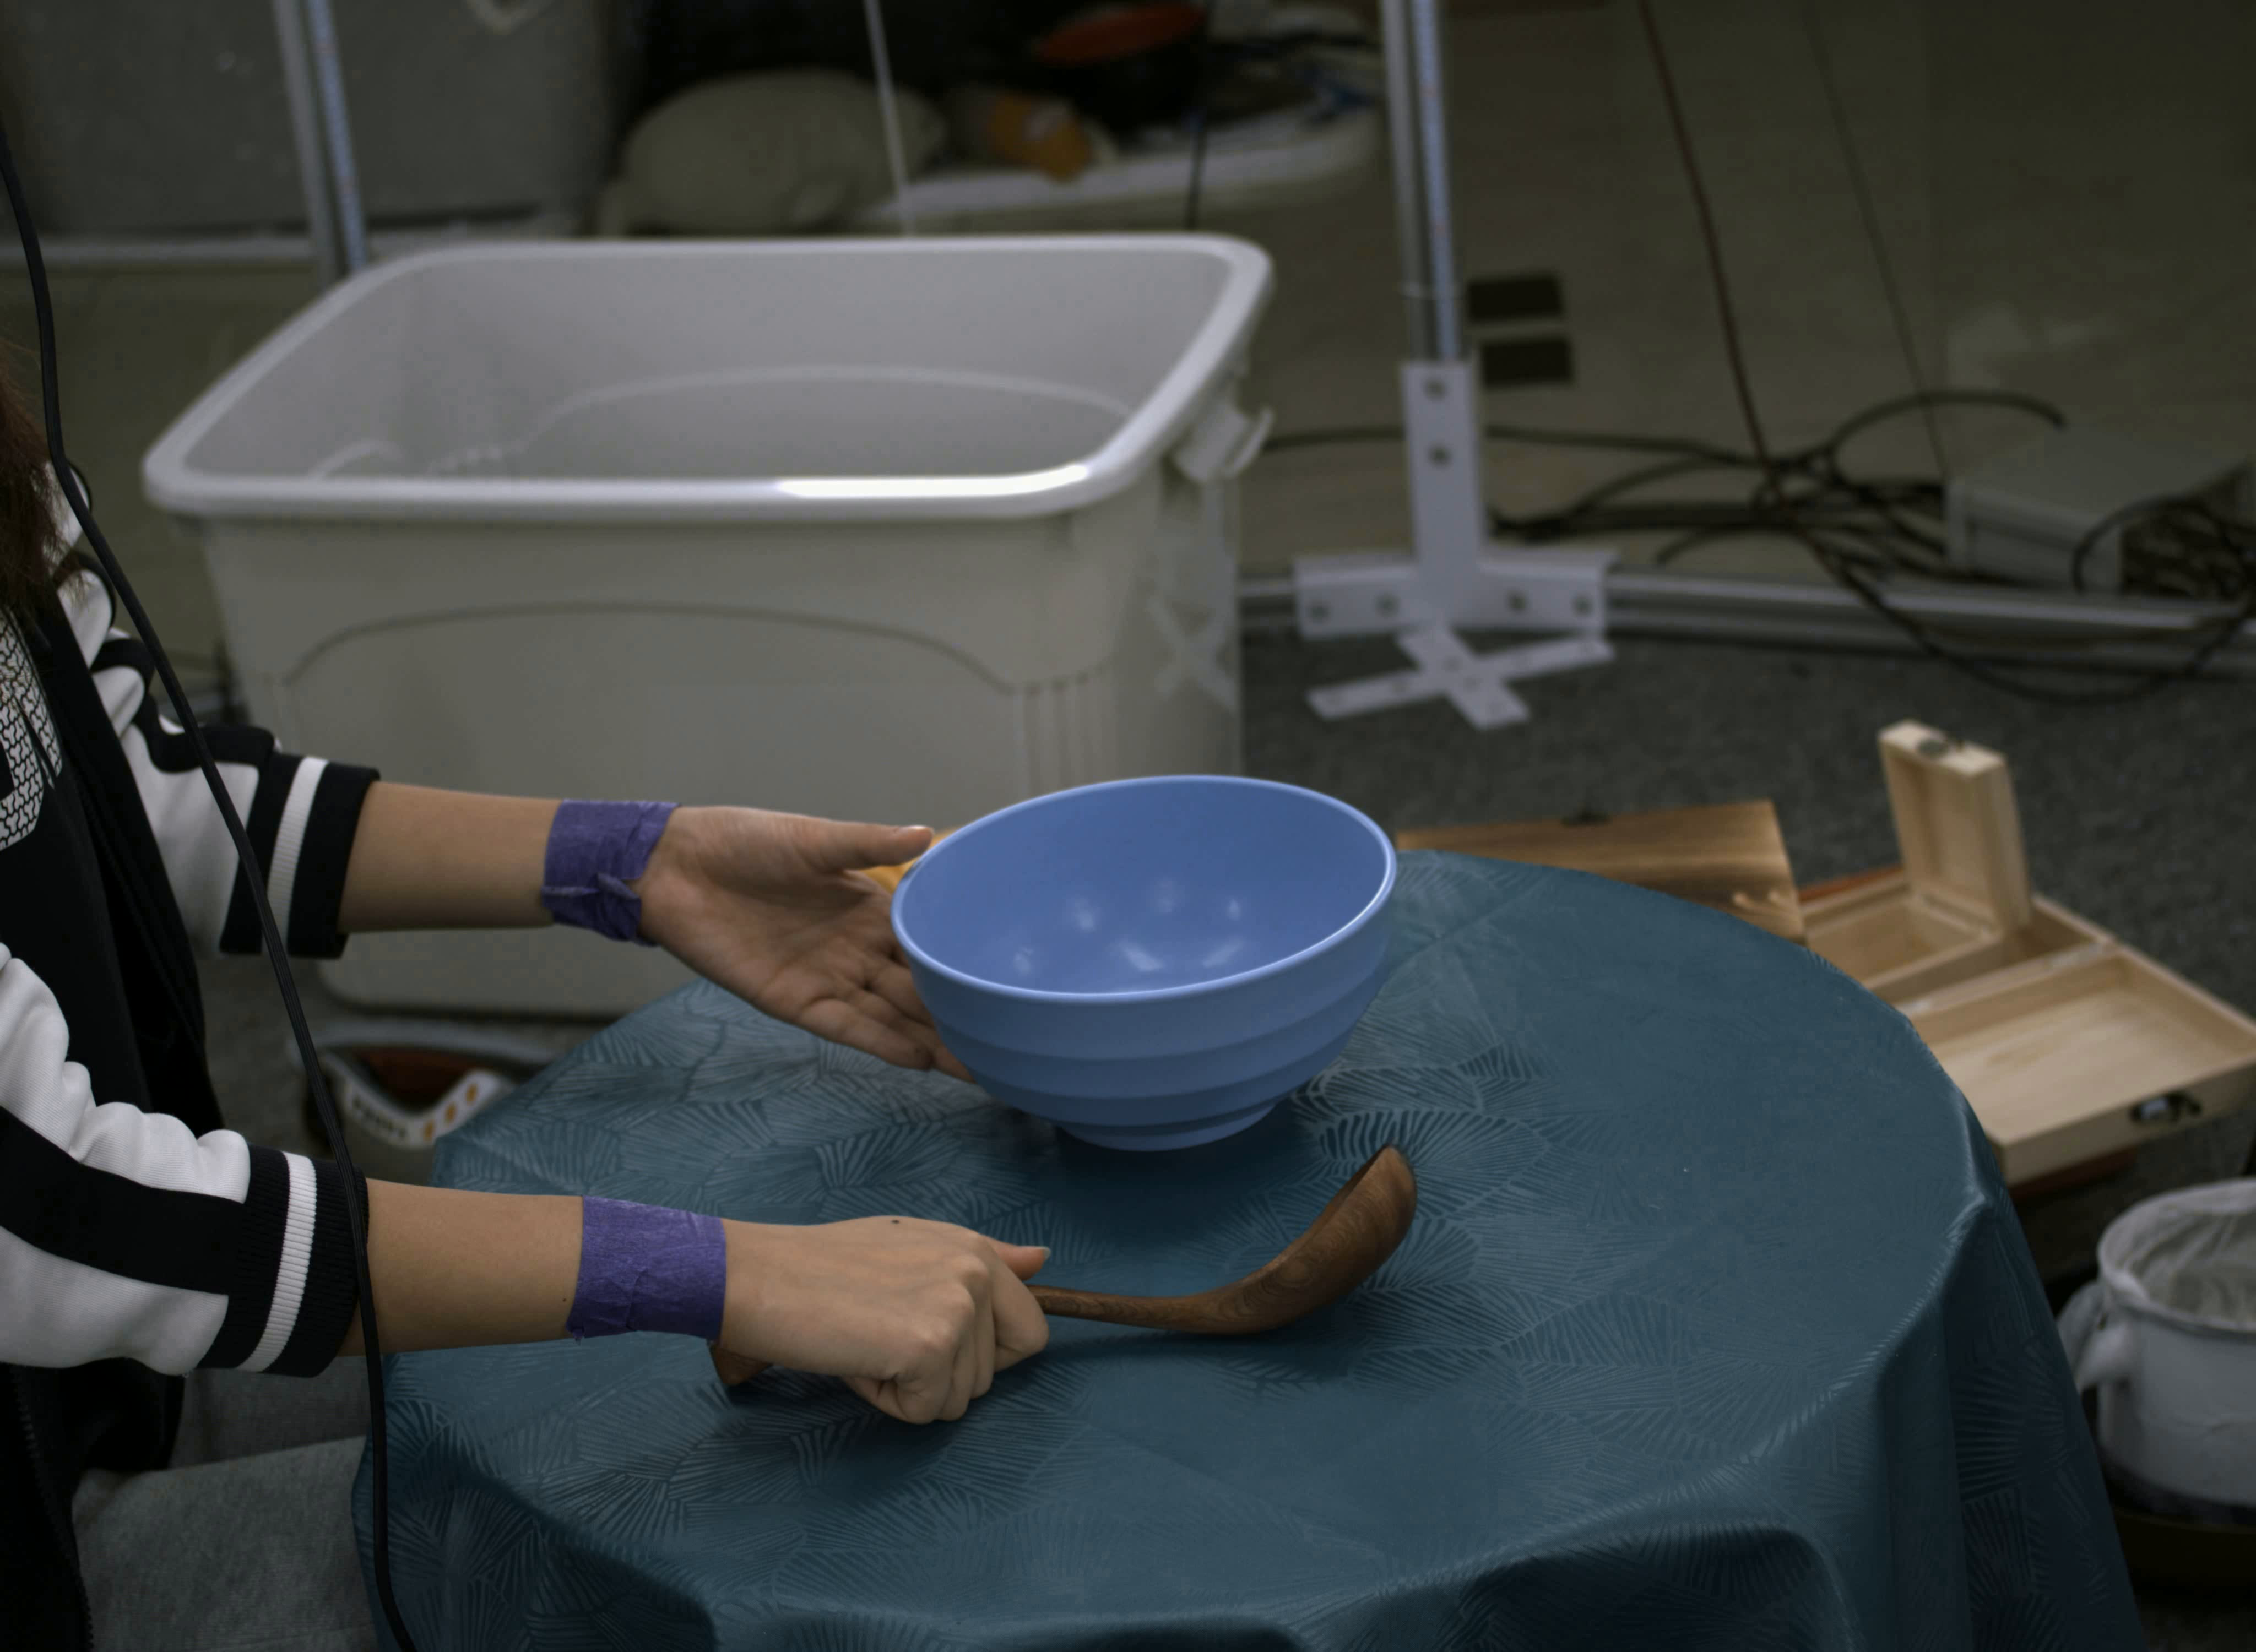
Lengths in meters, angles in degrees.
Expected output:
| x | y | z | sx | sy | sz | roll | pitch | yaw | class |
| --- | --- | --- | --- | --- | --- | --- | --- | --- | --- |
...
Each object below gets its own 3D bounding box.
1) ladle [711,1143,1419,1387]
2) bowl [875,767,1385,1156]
| x | y | z | sx | sy | sz | roll | pitch | yaw | class |
| --- | --- | --- | --- | --- | --- | --- | --- | --- | --- |
| -0.024 | 0.158 | 2.041 | 0.260 | 0.065 | 0.076 | -6 | -2 | 2 | ladle |
| 0.003 | 0.064 | 2.197 | 0.196 | 0.097 | 0.193 | -2 | 30 | 1 | bowl |
